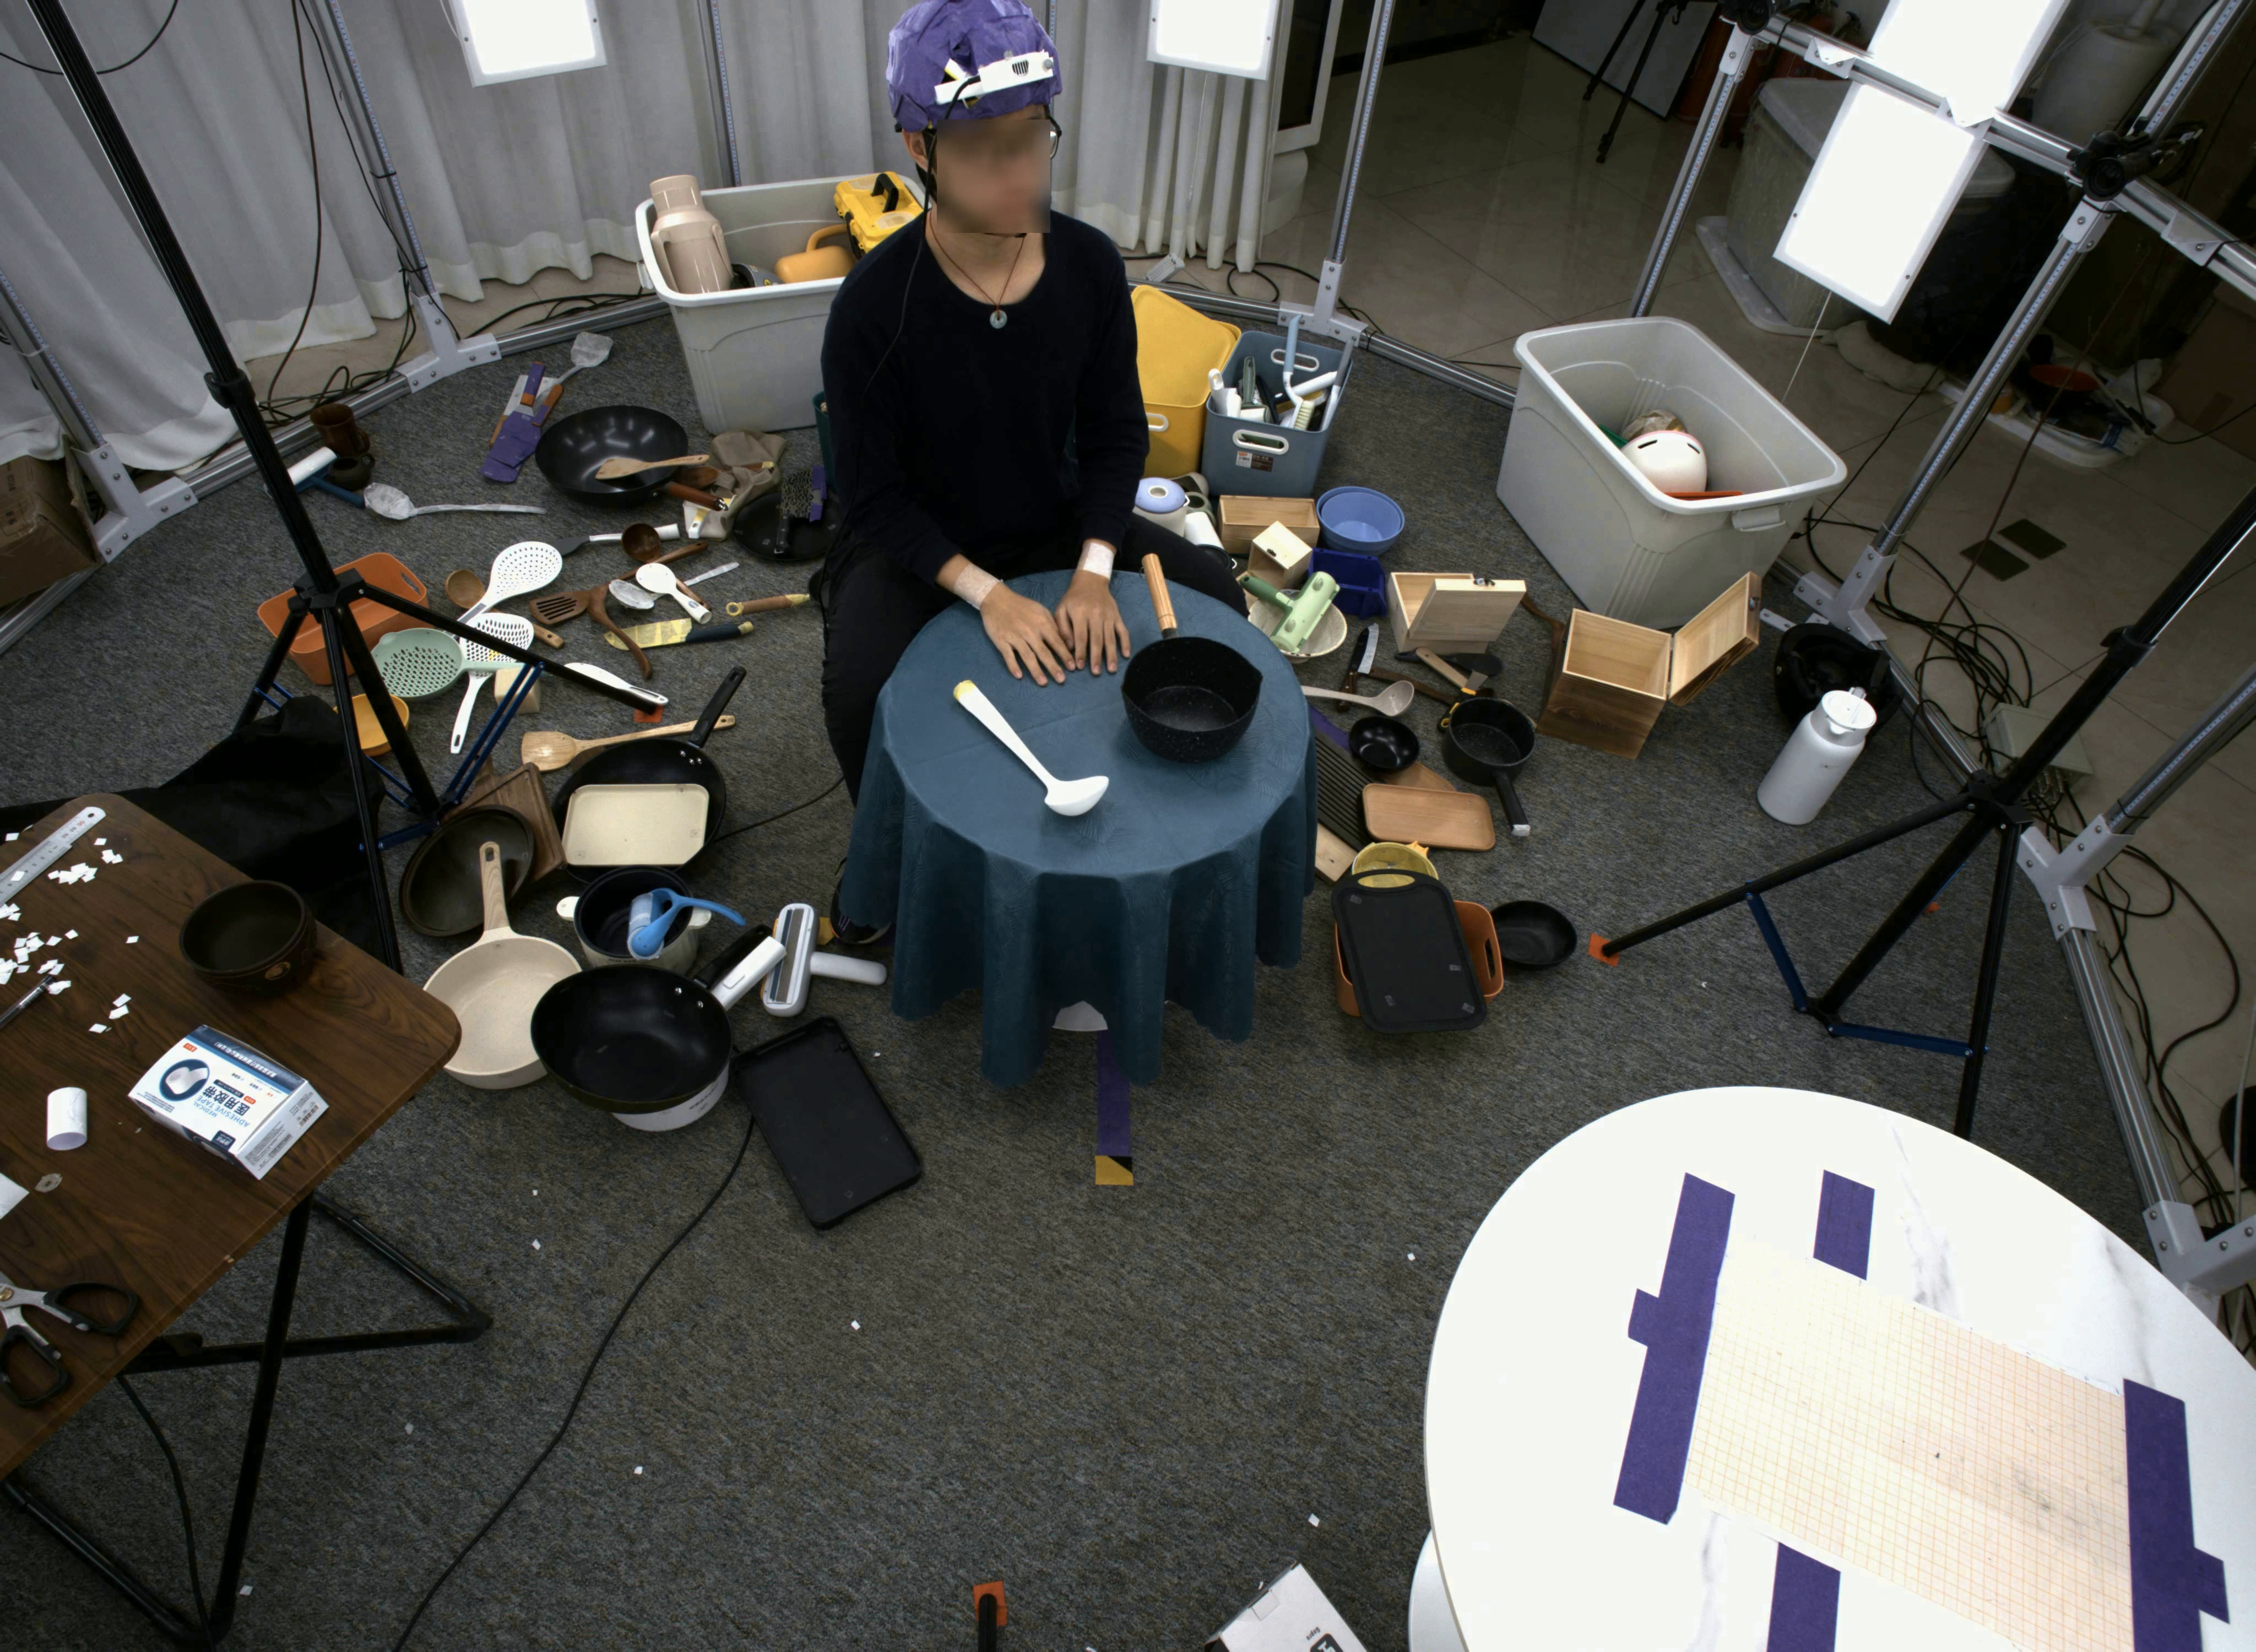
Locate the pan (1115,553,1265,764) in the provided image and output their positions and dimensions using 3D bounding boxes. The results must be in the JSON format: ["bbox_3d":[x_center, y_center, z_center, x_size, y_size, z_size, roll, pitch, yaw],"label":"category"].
[{"bbox_3d":[0.066,-0.236,1.809,0.207,0.105,0.351,-9,52,-11],"label":"pan"}]

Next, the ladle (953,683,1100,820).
[{"bbox_3d":[-0.145,-0.108,1.710,0.090,0.068,0.298,-31,57,-20],"label":"ladle"}]
